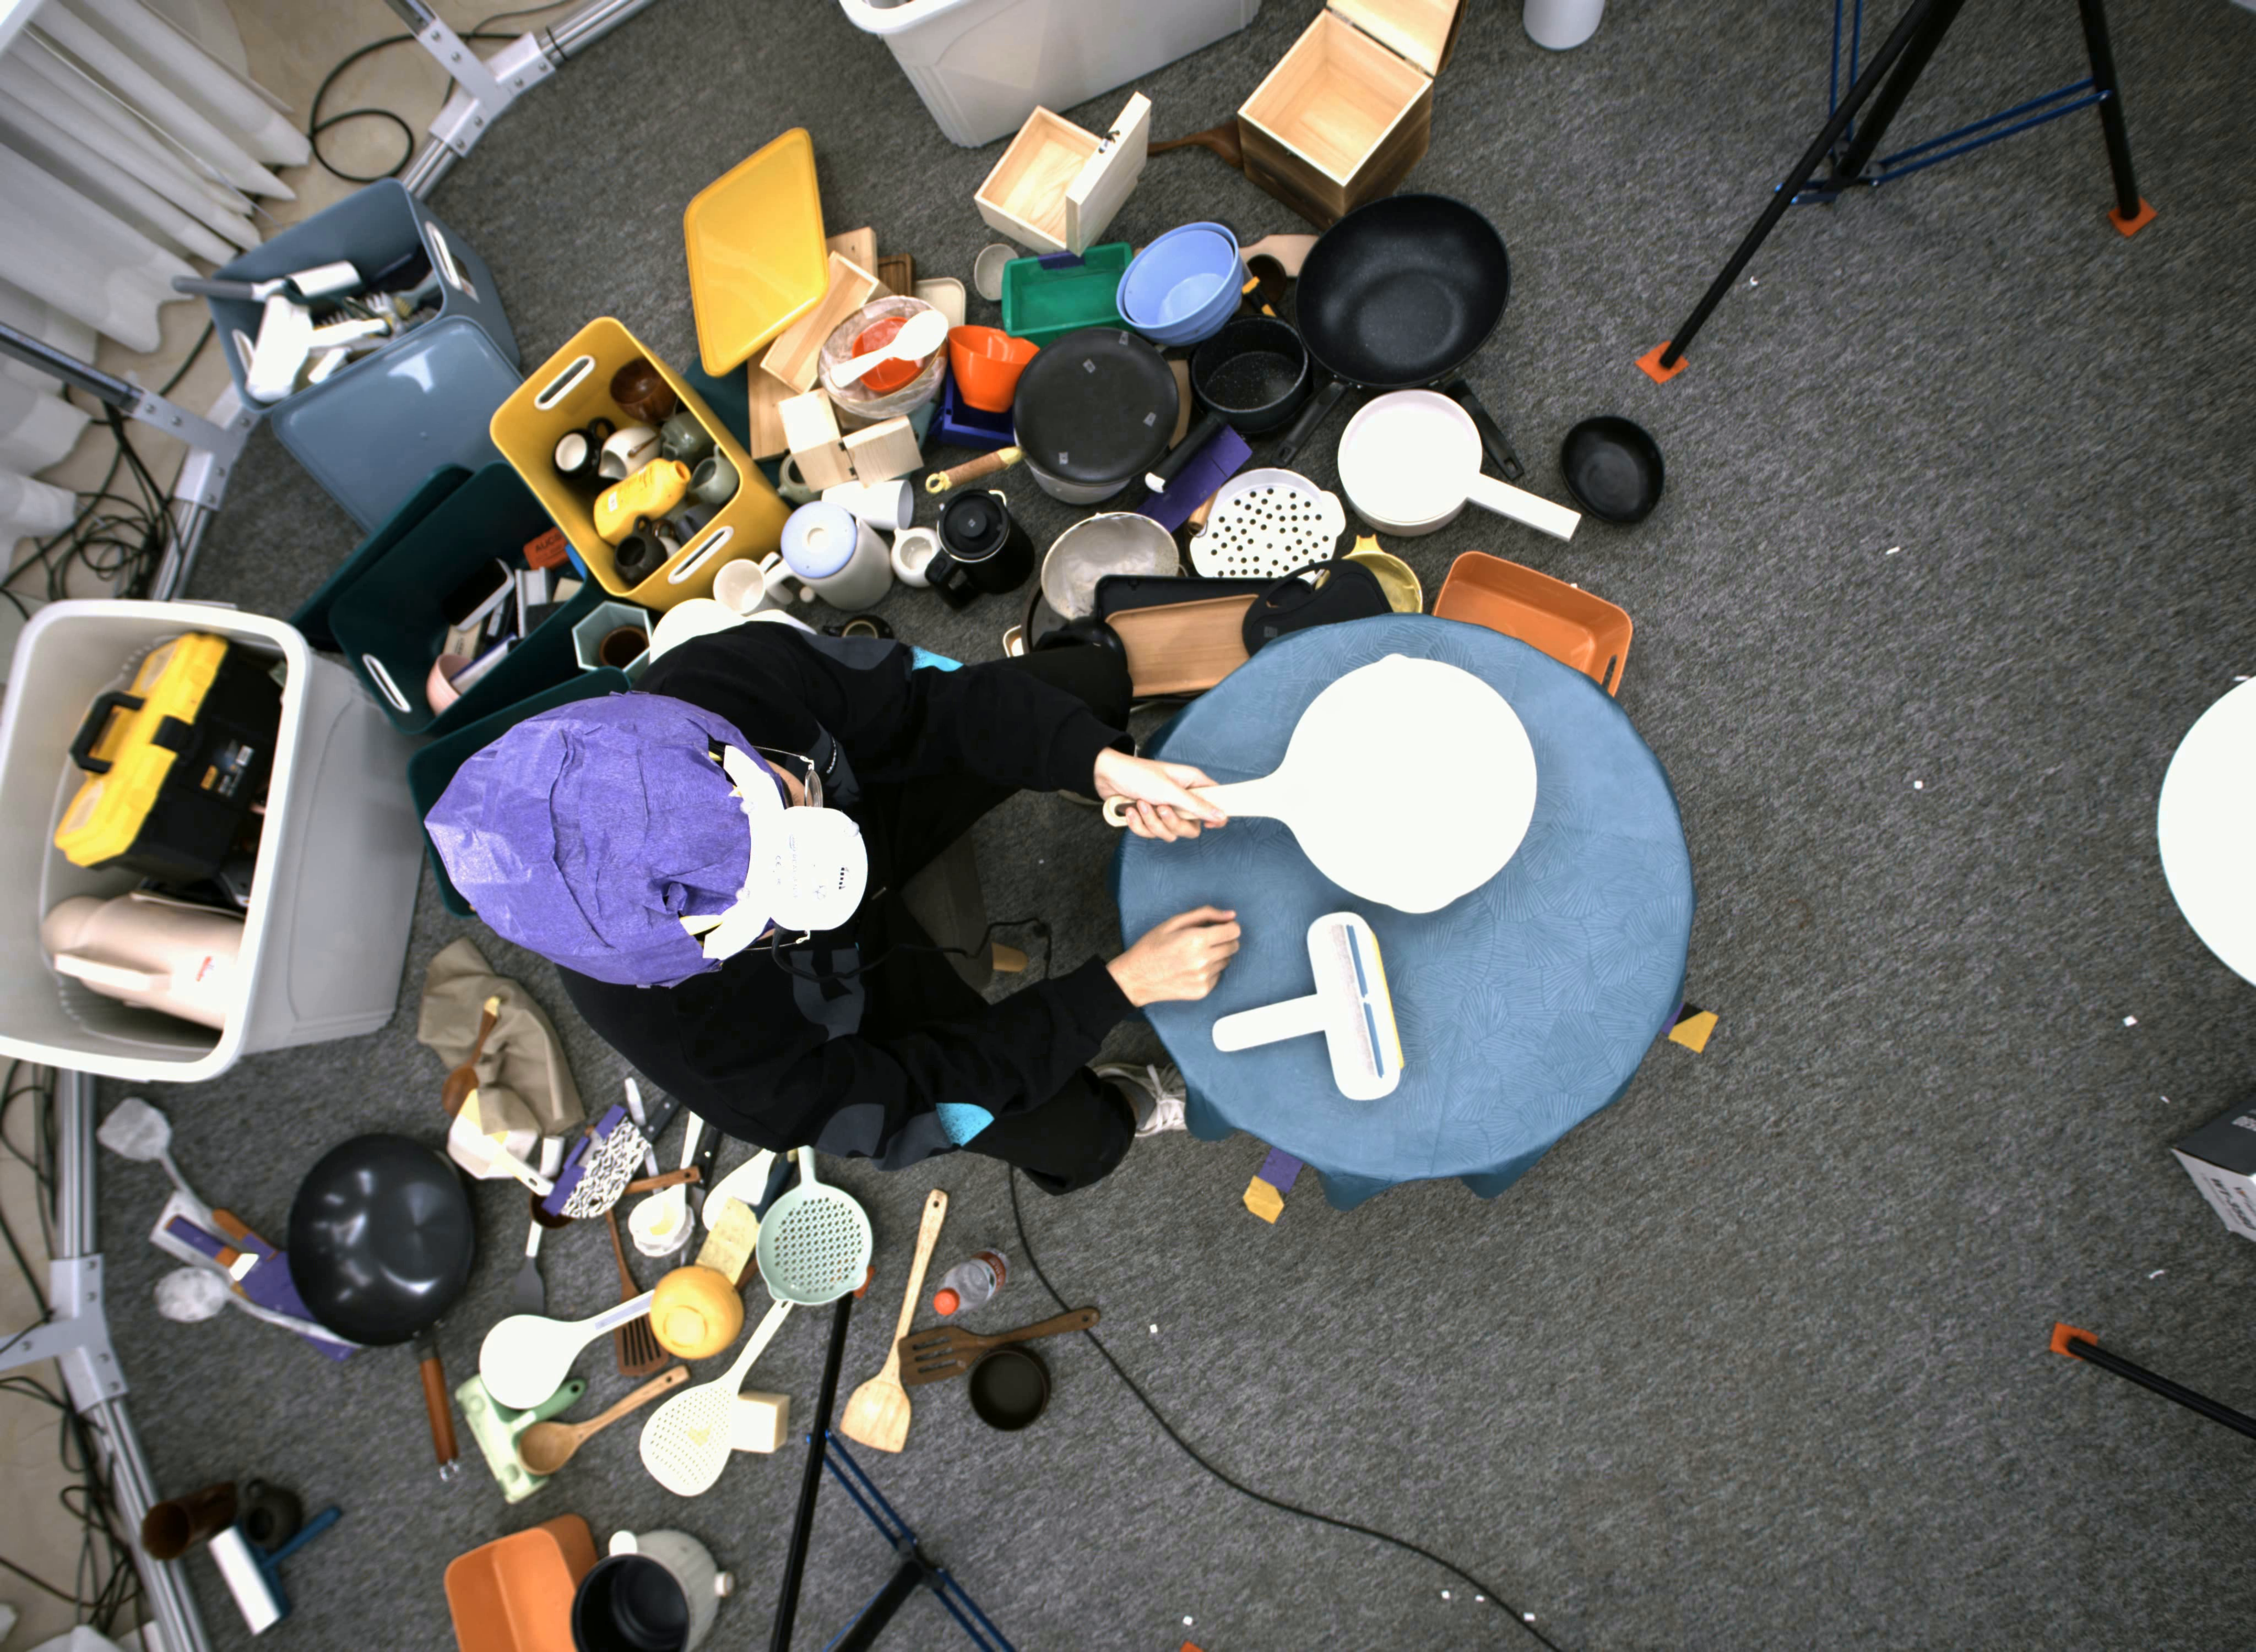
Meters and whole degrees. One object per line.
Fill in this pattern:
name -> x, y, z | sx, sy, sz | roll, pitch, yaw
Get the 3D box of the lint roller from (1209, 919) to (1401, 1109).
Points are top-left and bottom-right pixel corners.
lint roller -> 0.176, 0.200, 1.432 | 0.193, 0.074, 0.191 | -9, 80, 11

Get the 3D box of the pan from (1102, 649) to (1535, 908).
pan -> 0.194, -0.037, 1.423 | 0.437, 0.102, 0.262 | -7, 88, 9
